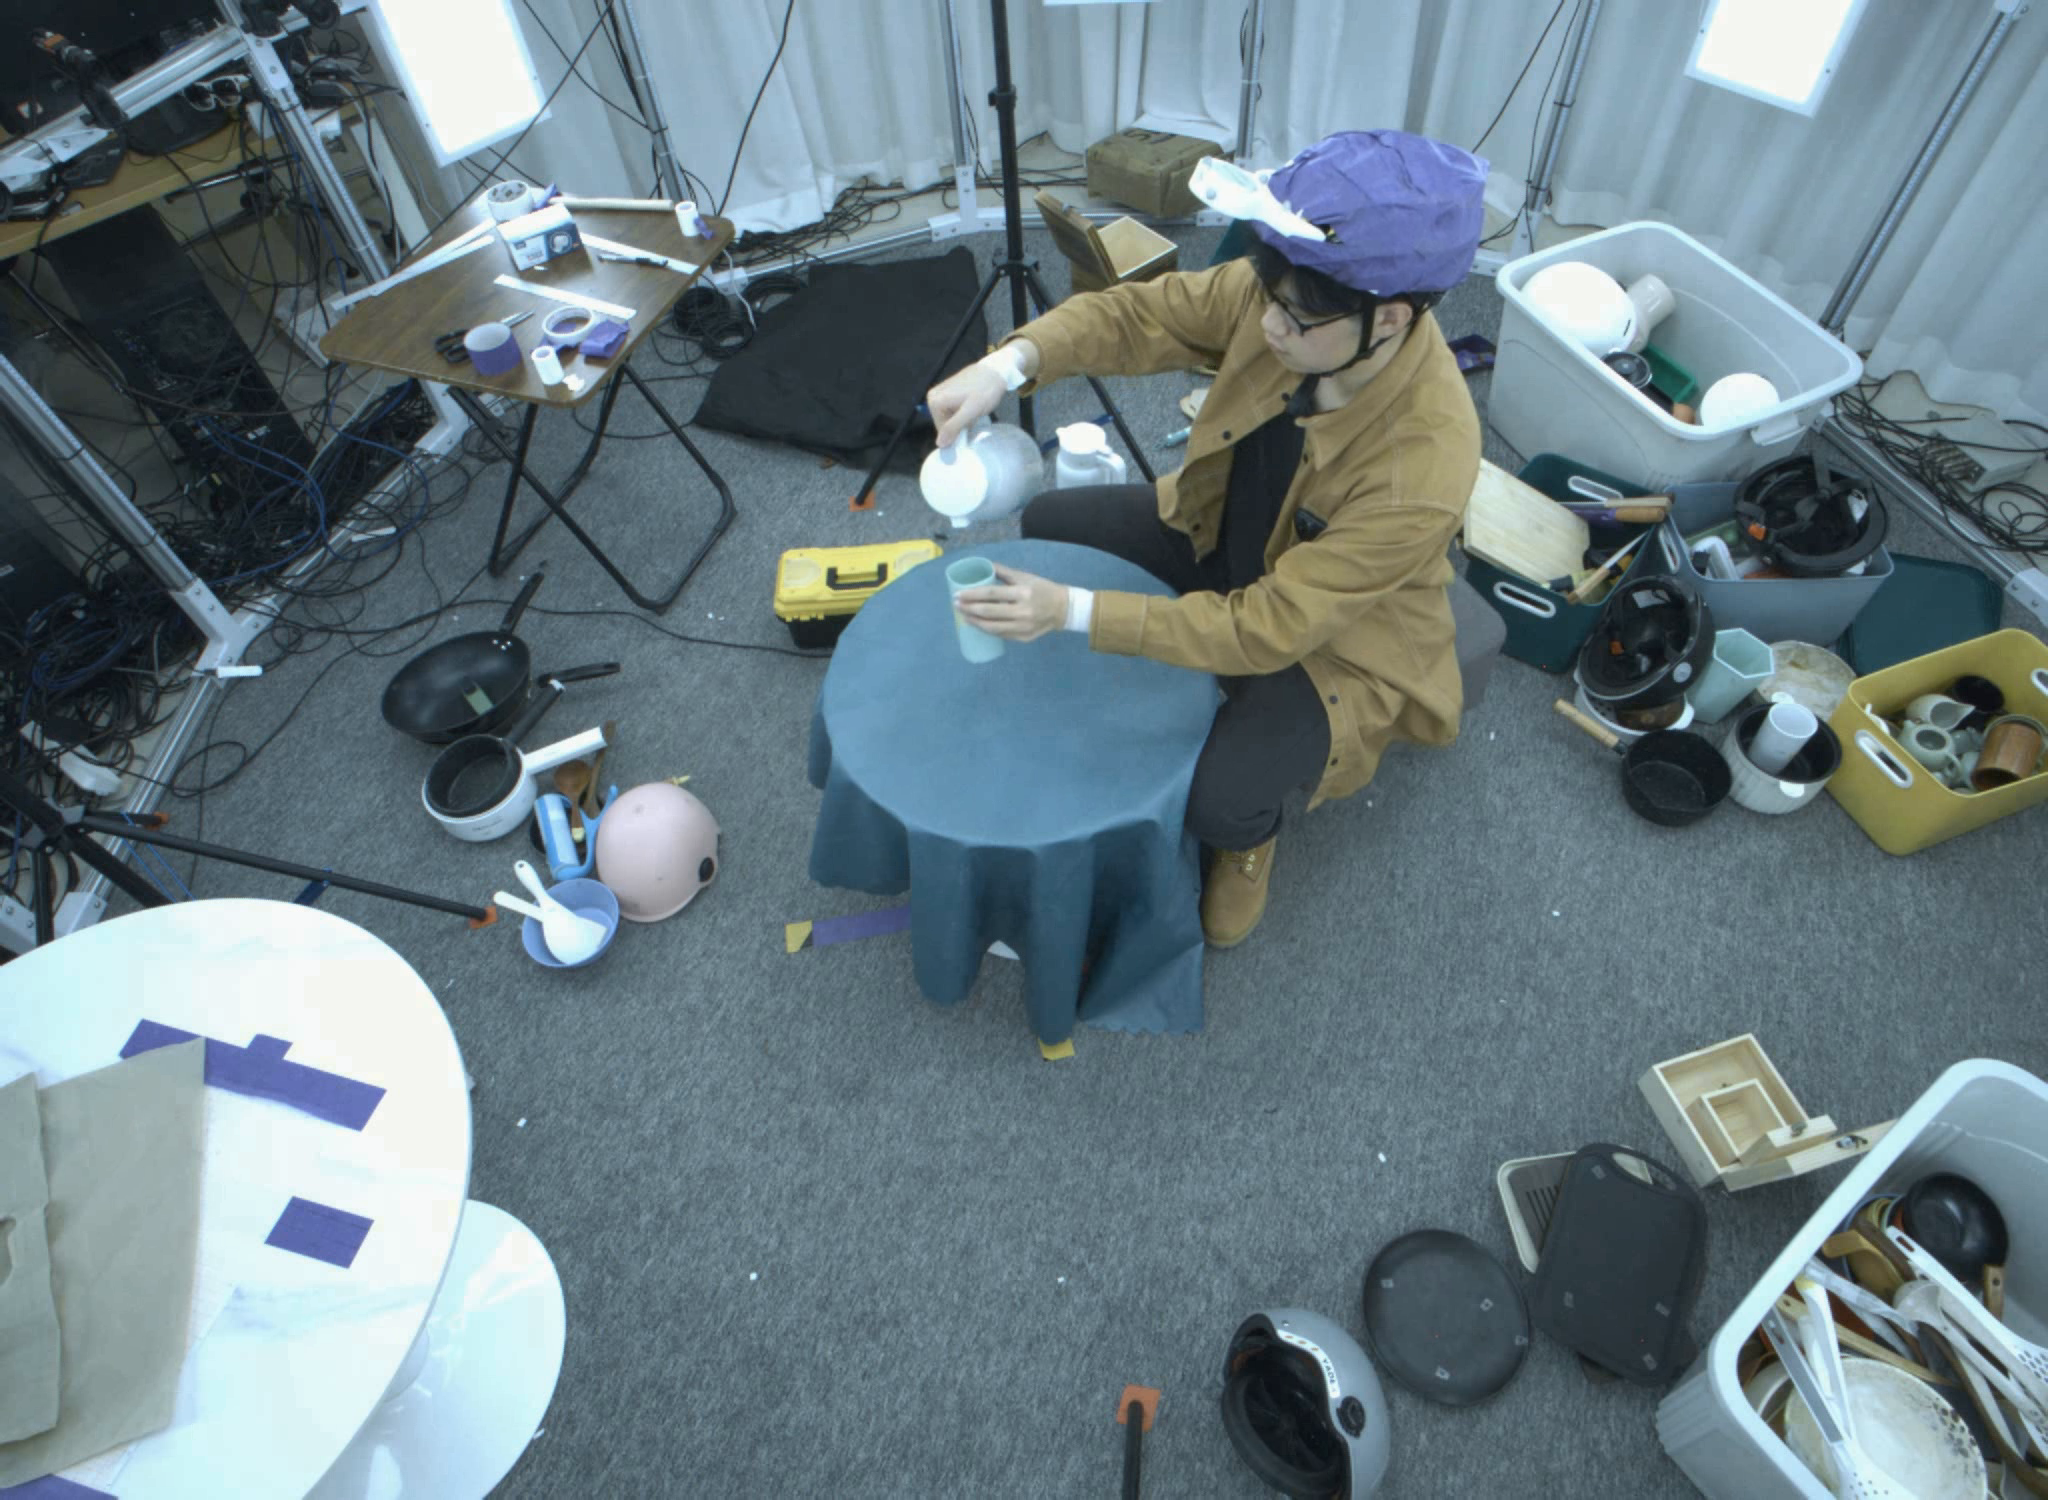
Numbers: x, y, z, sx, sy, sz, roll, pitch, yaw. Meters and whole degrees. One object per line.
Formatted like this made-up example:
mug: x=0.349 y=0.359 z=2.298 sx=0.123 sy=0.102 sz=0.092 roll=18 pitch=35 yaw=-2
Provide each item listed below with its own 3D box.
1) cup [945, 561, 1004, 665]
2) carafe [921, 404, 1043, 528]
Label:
cup: x=-0.064 y=-0.186 z=1.662 sx=0.066 sy=0.134 sz=0.066 roll=-4 pitch=44 yaw=5
carafe: x=-0.068 y=-0.397 z=1.674 sx=0.131 sy=0.168 sz=0.249 roll=-1 pitch=15 yaw=14
